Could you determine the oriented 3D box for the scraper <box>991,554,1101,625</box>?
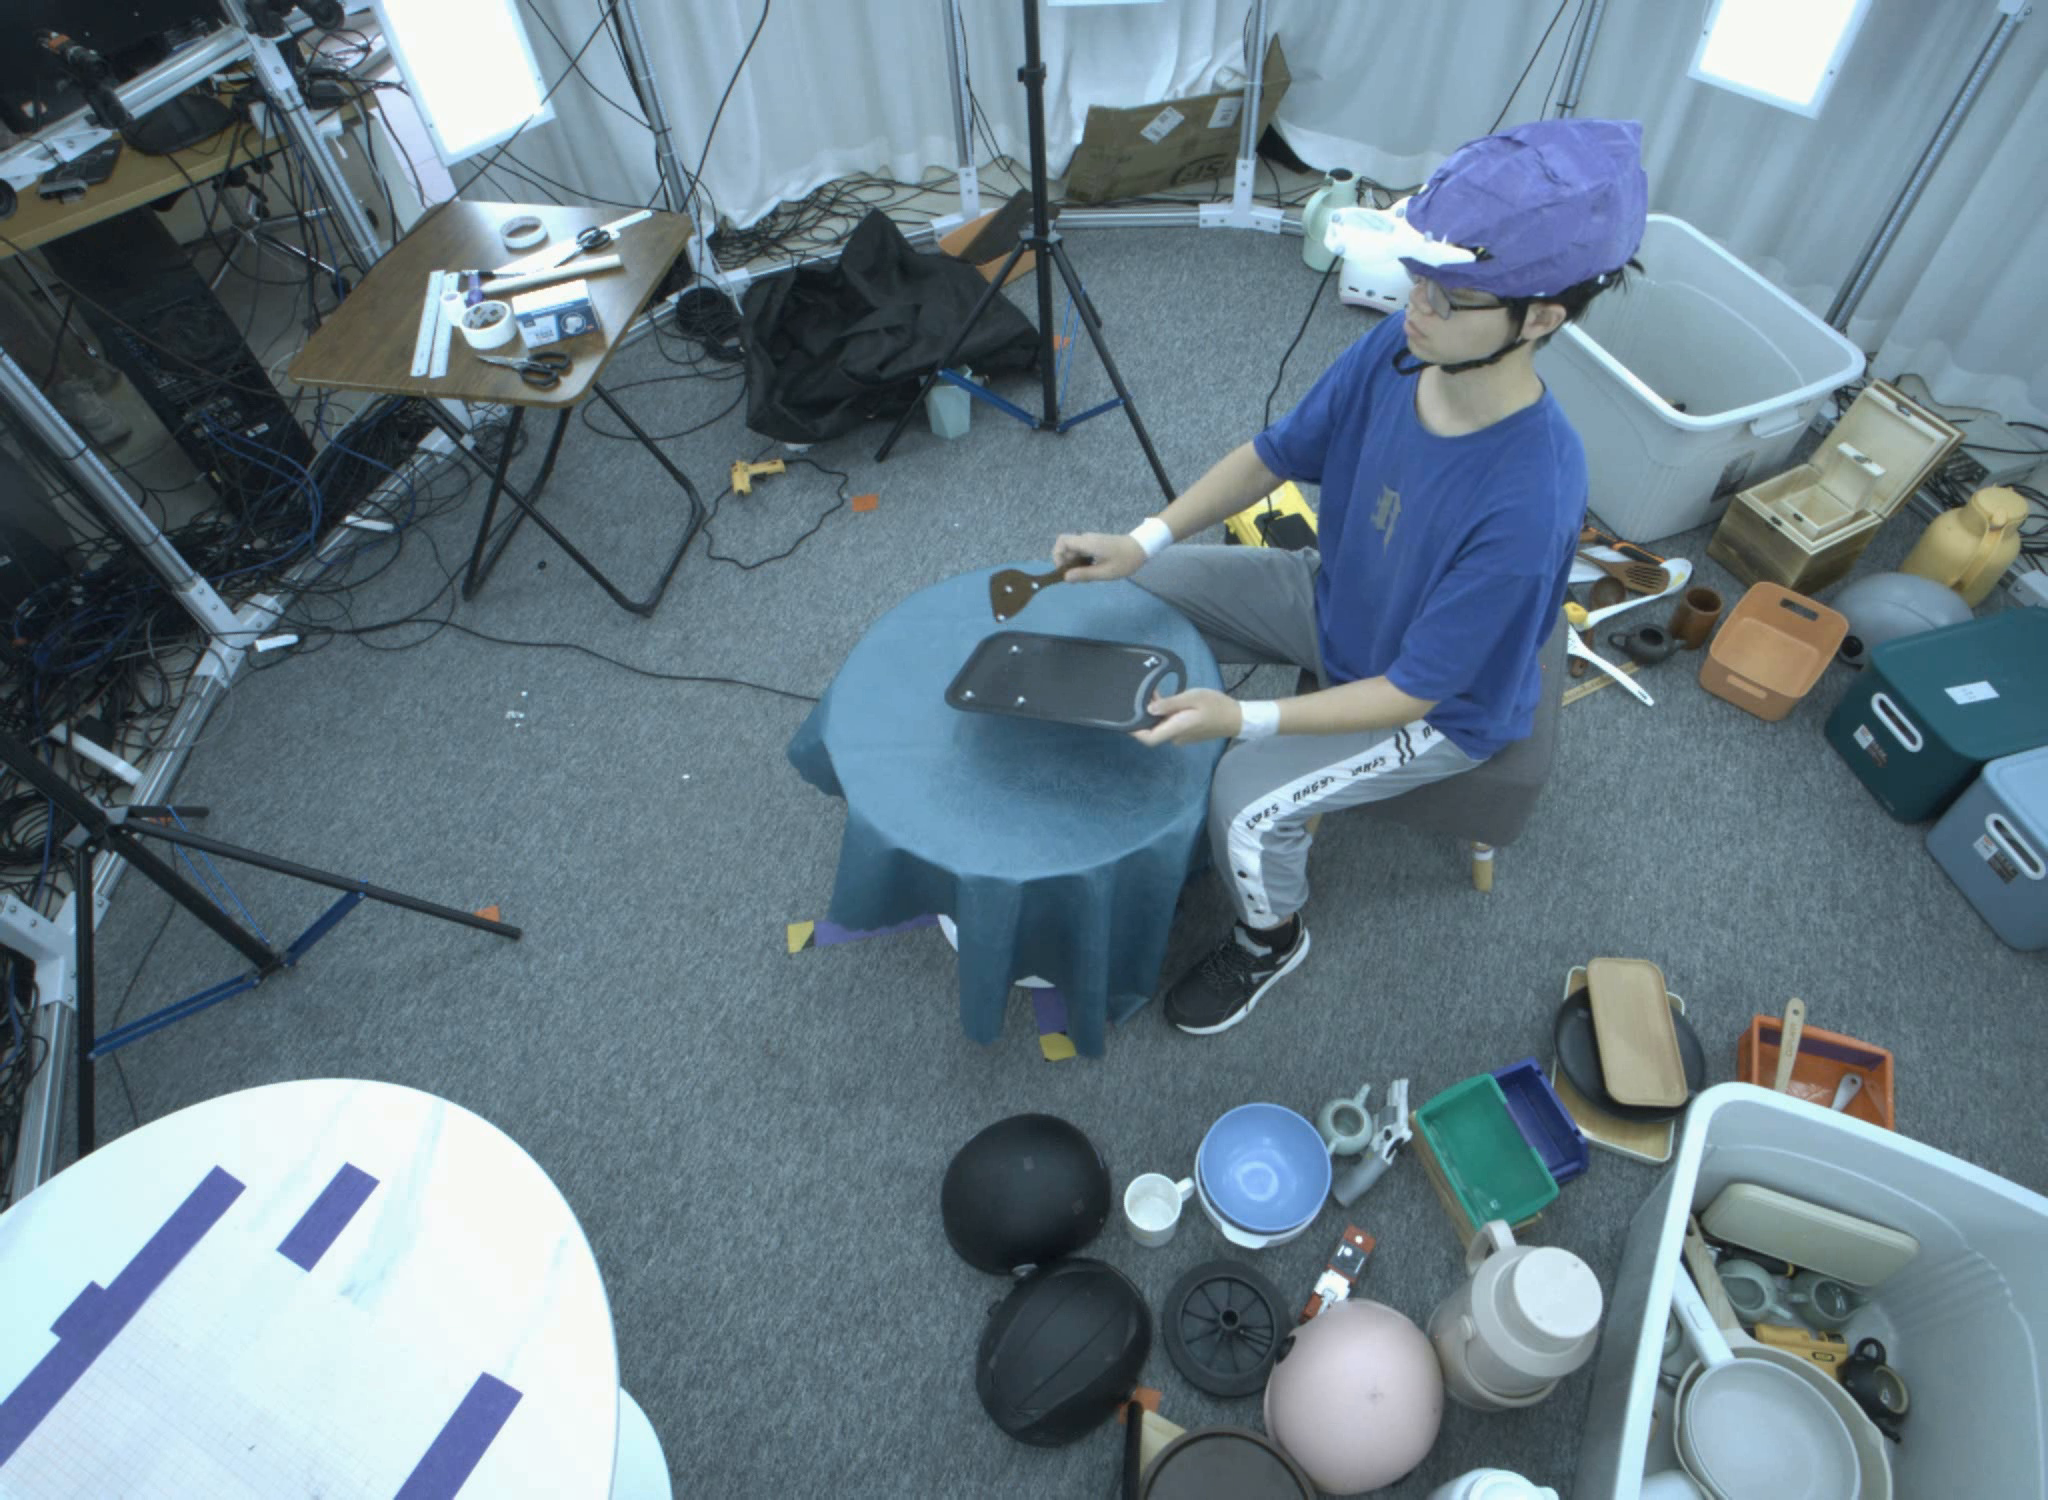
[{"bbox_3d":[0.034,-0.247,1.795,0.214,0.076,0.010,-25,29,-34],"label":"scraper"}]

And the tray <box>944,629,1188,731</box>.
[{"bbox_3d":[0.065,-0.102,1.708,0.321,0.010,0.211,9,39,18],"label":"tray"}]
